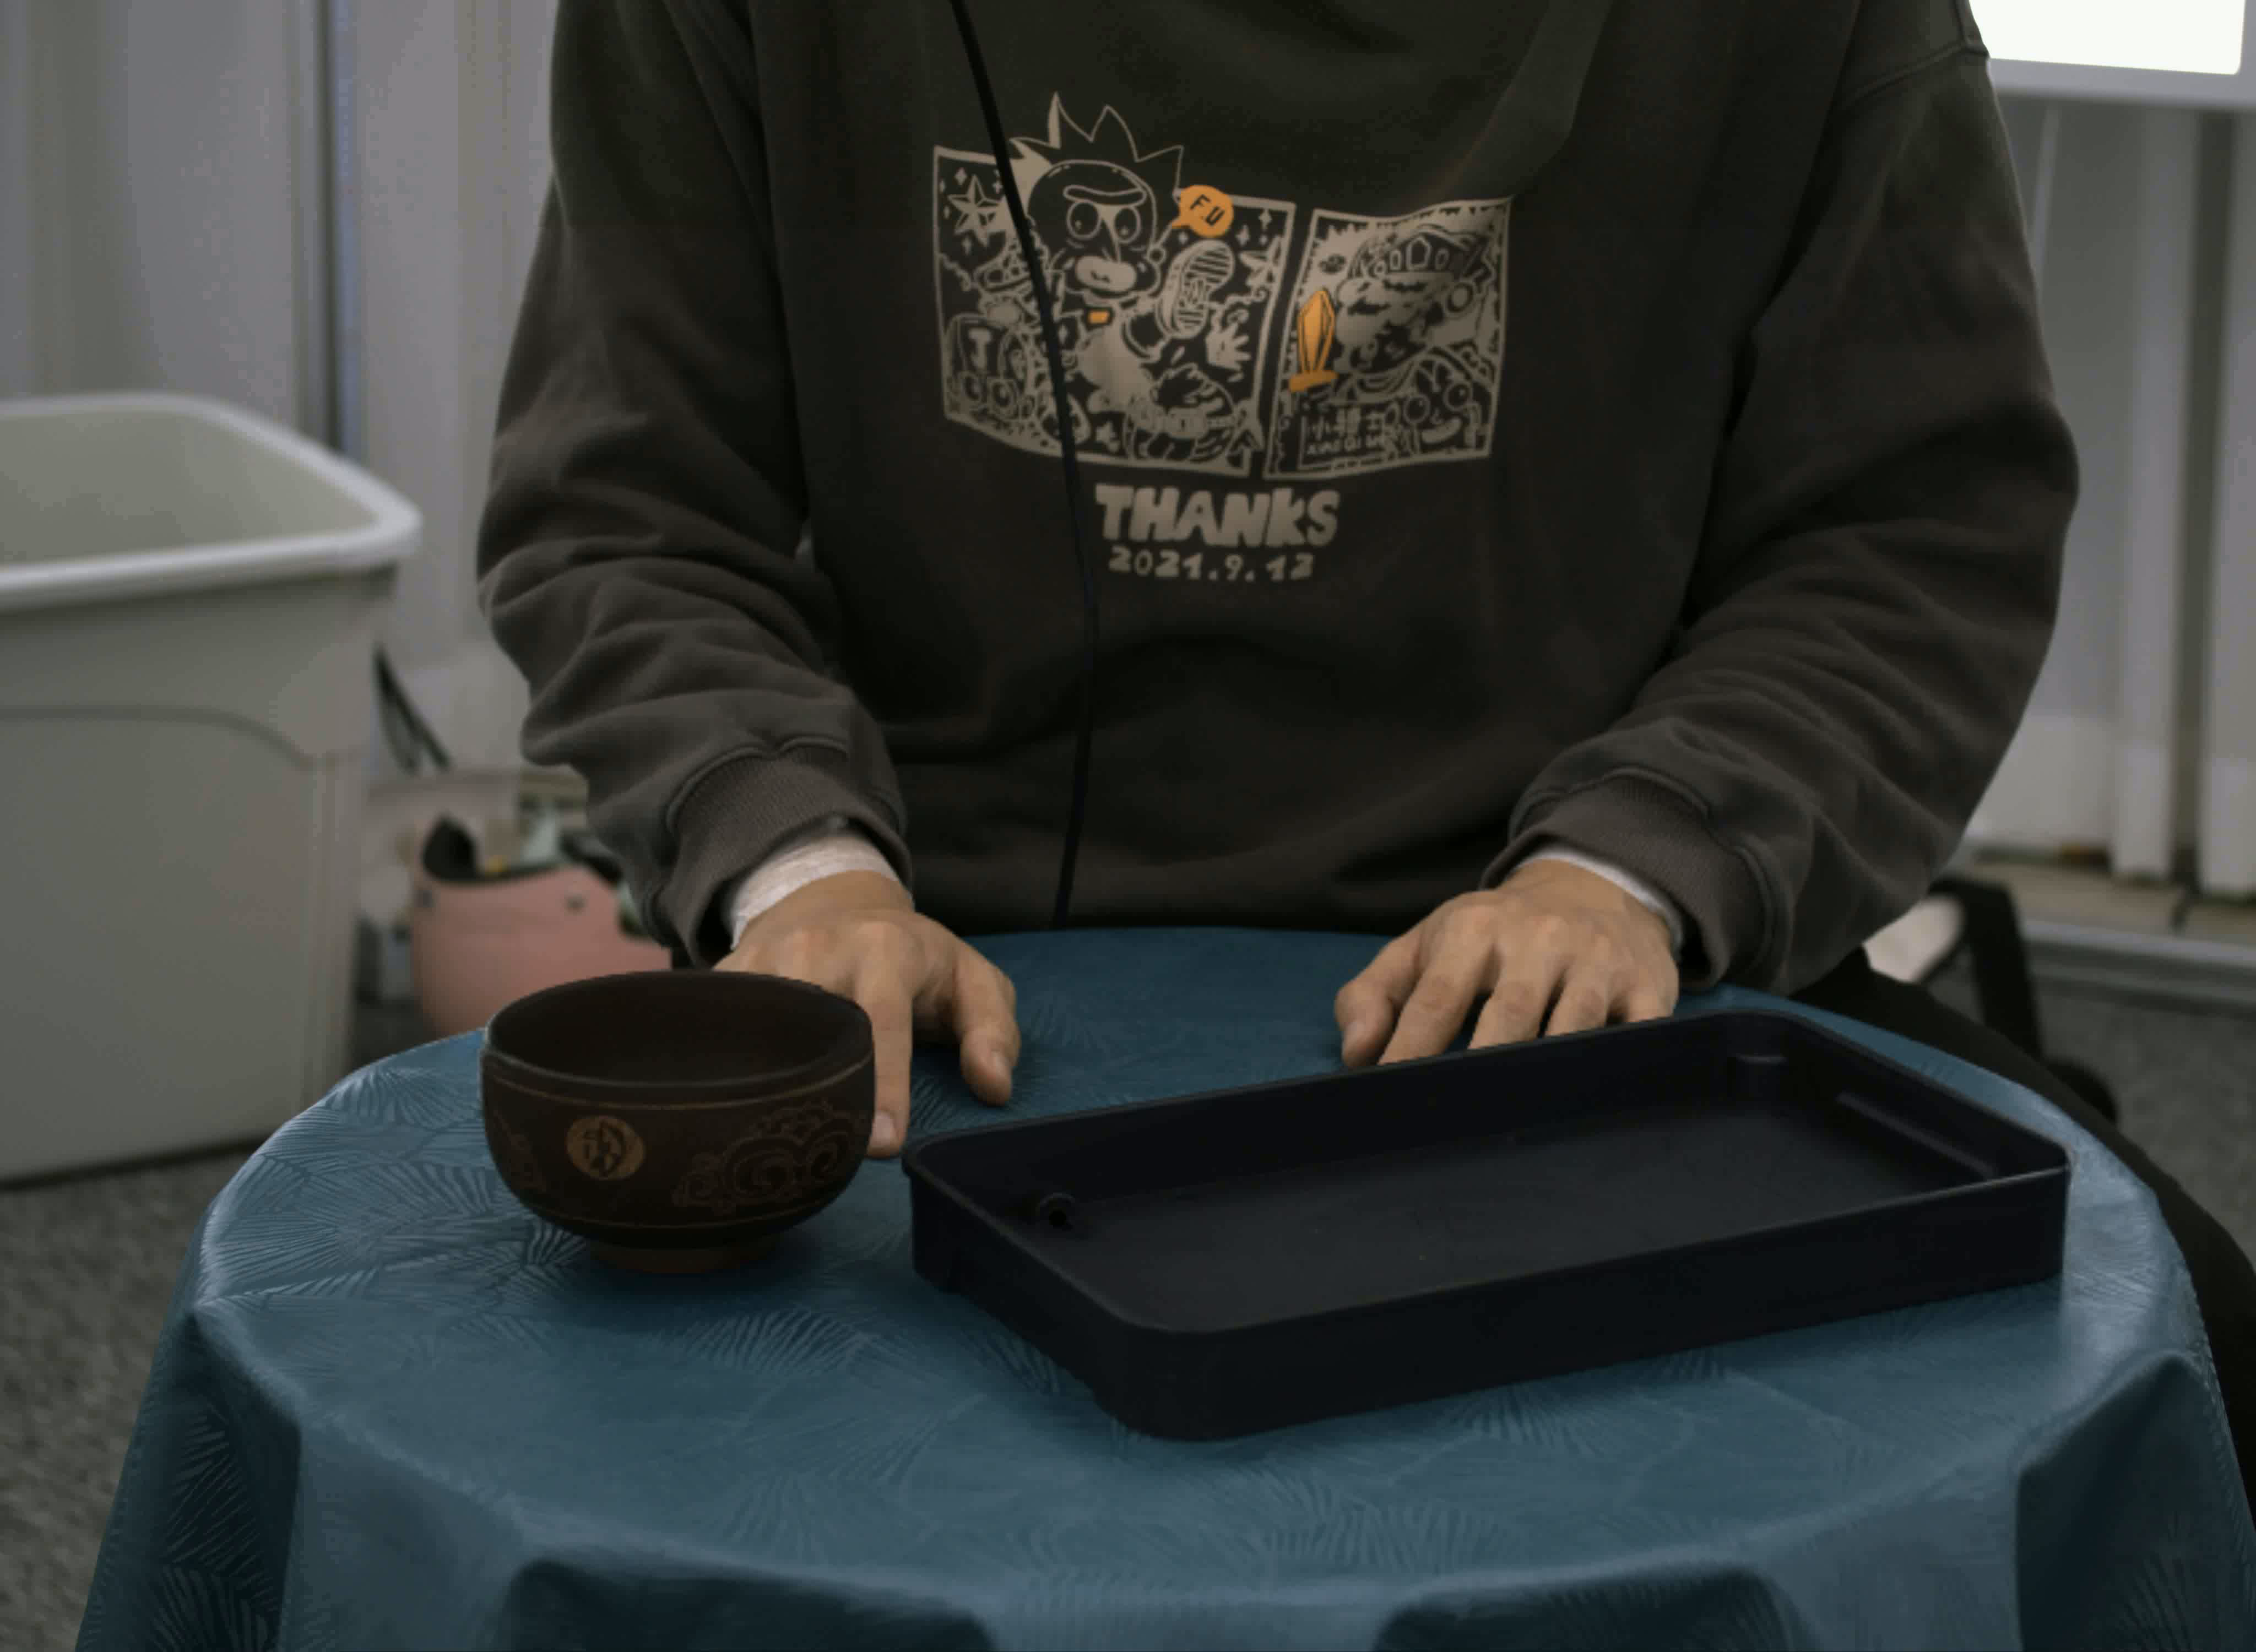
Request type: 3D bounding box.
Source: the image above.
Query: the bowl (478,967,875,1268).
[{"bbox_3d":[-0.134,0.090,1.571,0.117,0.070,0.117,1,14,0],"label":"bowl"}]

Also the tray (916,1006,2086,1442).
[{"bbox_3d":[0.111,0.113,1.567,0.319,0.037,0.182,-8,17,-28],"label":"tray"}]
